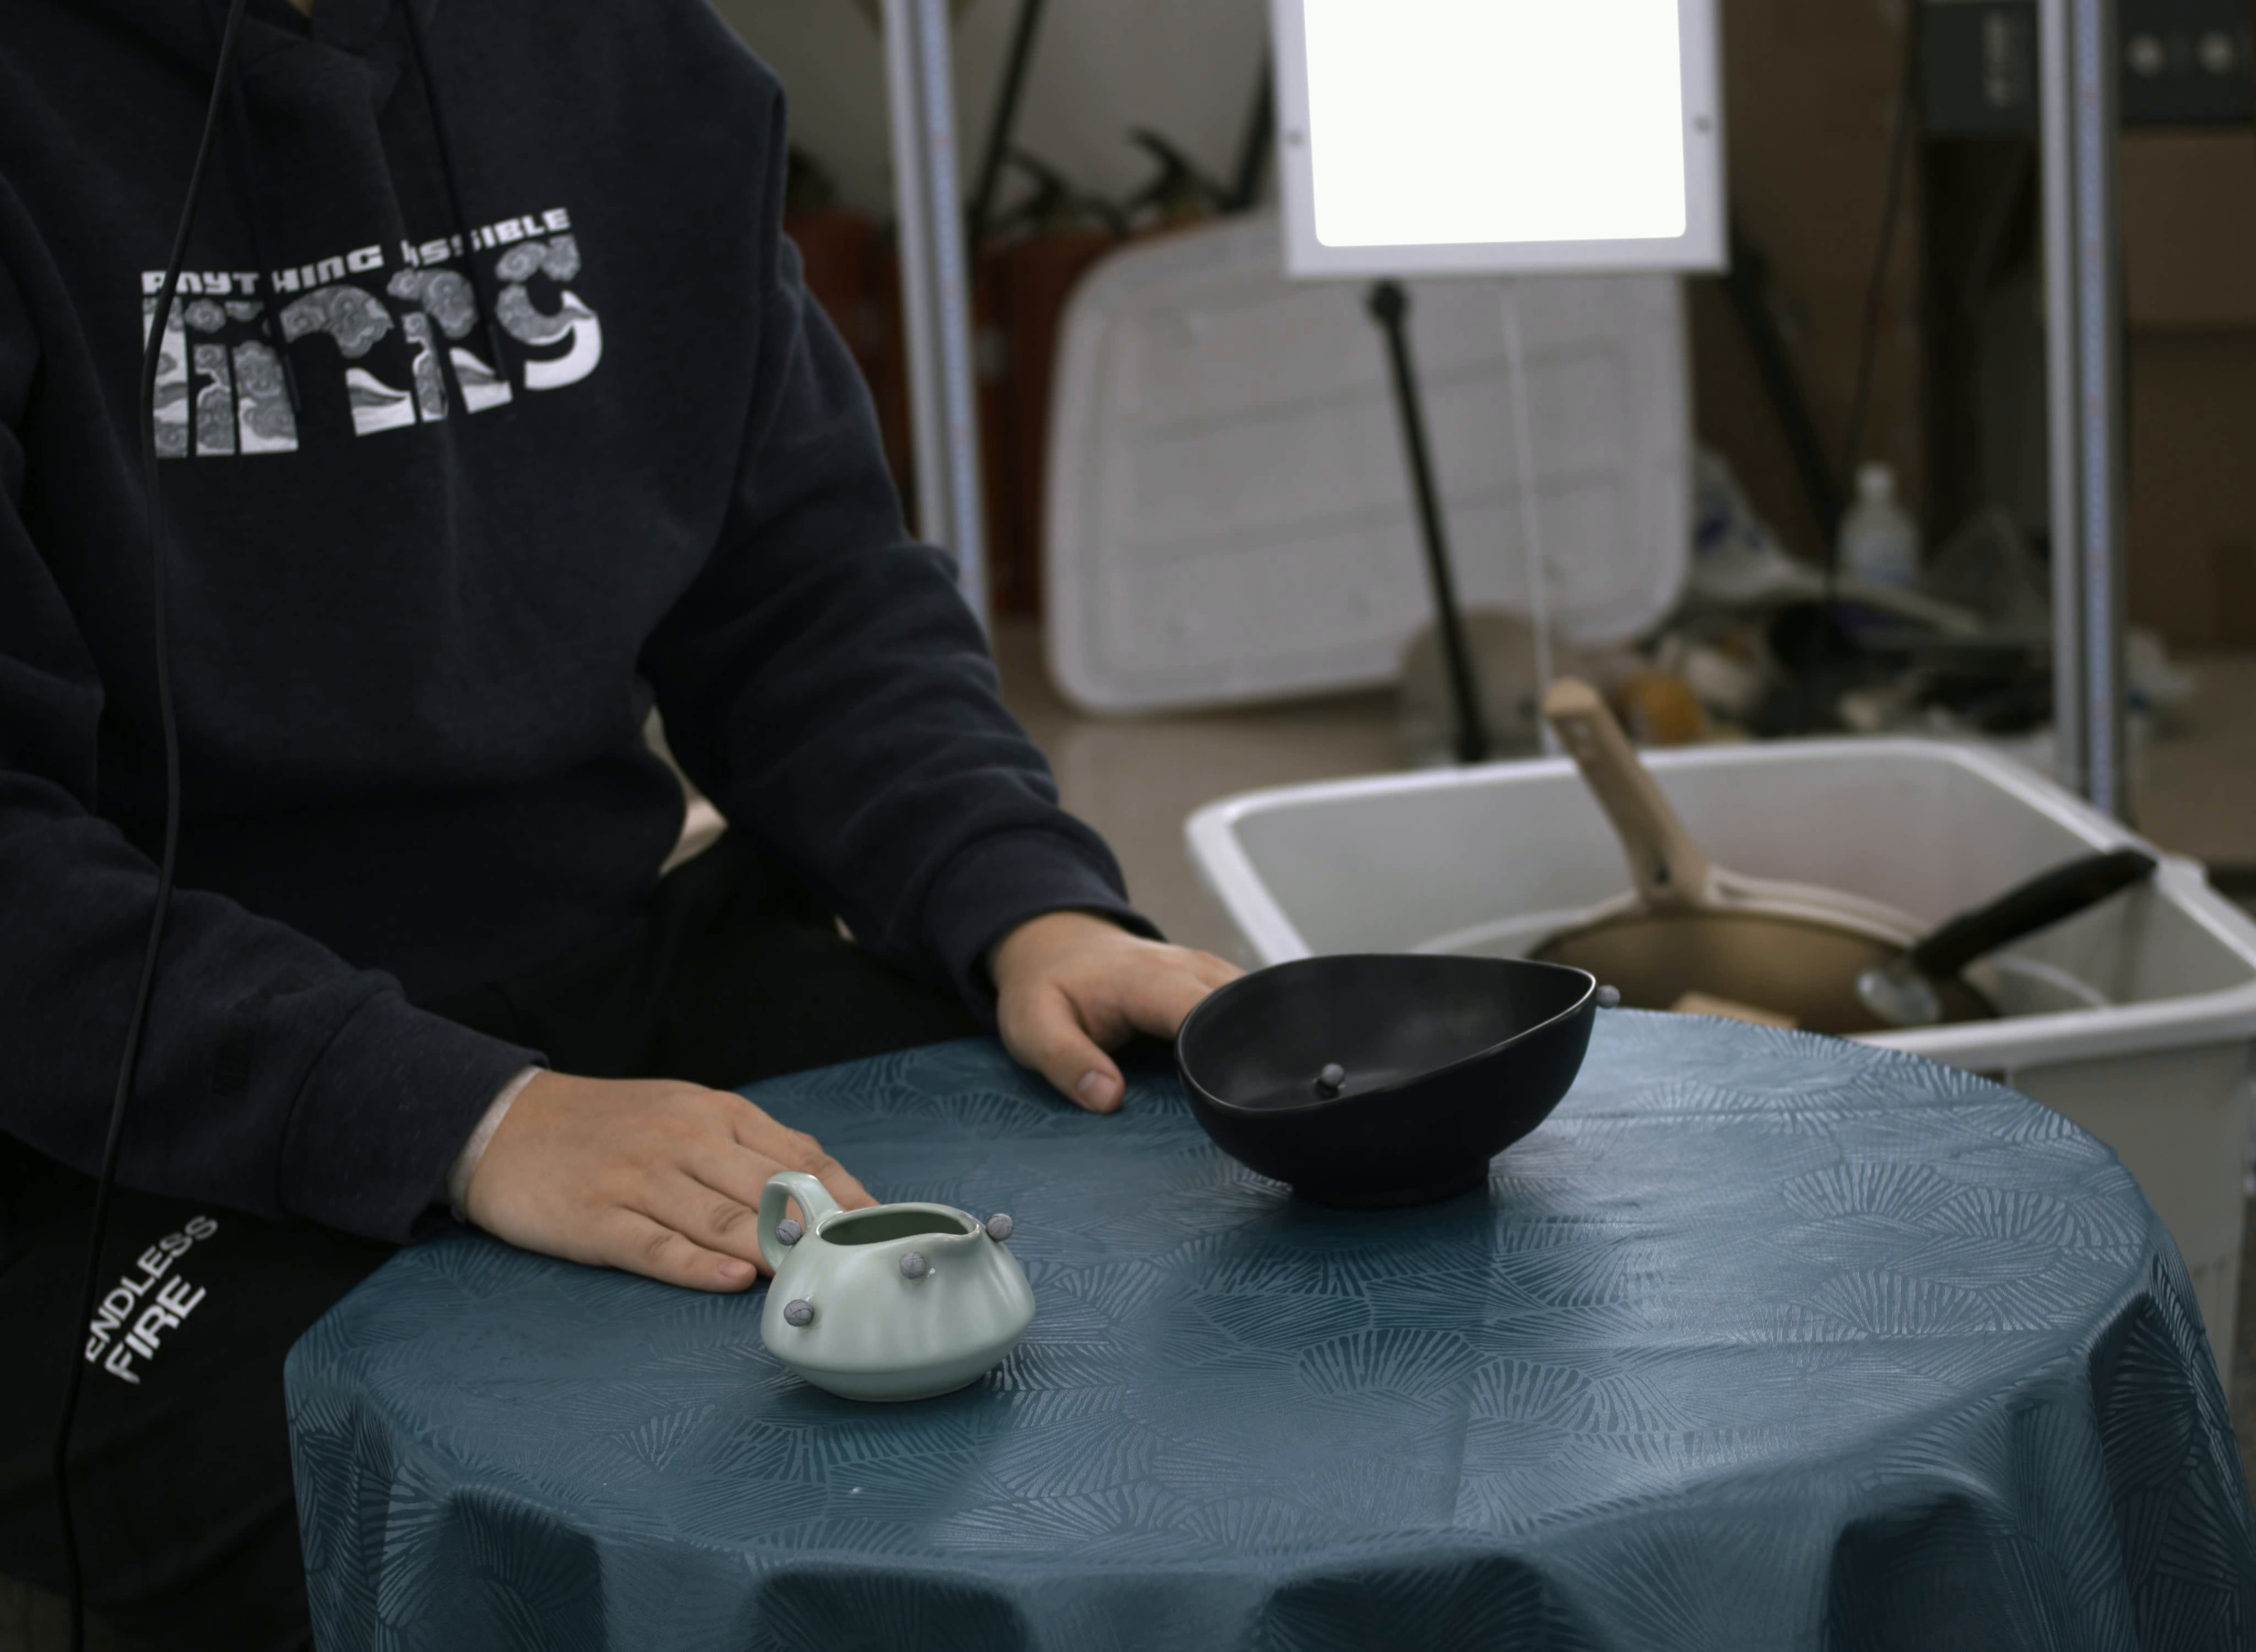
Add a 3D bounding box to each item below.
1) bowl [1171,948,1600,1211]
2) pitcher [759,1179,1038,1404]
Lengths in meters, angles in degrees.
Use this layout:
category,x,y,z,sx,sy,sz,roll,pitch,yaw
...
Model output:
category,x,y,z,sx,sy,sz,roll,pitch,yaw
bowl,0.091,0.091,1.882,0.140,0.067,0.166,4,17,35
pitcher,-0.080,0.145,1.731,0.084,0.060,0.110,-15,15,-40
